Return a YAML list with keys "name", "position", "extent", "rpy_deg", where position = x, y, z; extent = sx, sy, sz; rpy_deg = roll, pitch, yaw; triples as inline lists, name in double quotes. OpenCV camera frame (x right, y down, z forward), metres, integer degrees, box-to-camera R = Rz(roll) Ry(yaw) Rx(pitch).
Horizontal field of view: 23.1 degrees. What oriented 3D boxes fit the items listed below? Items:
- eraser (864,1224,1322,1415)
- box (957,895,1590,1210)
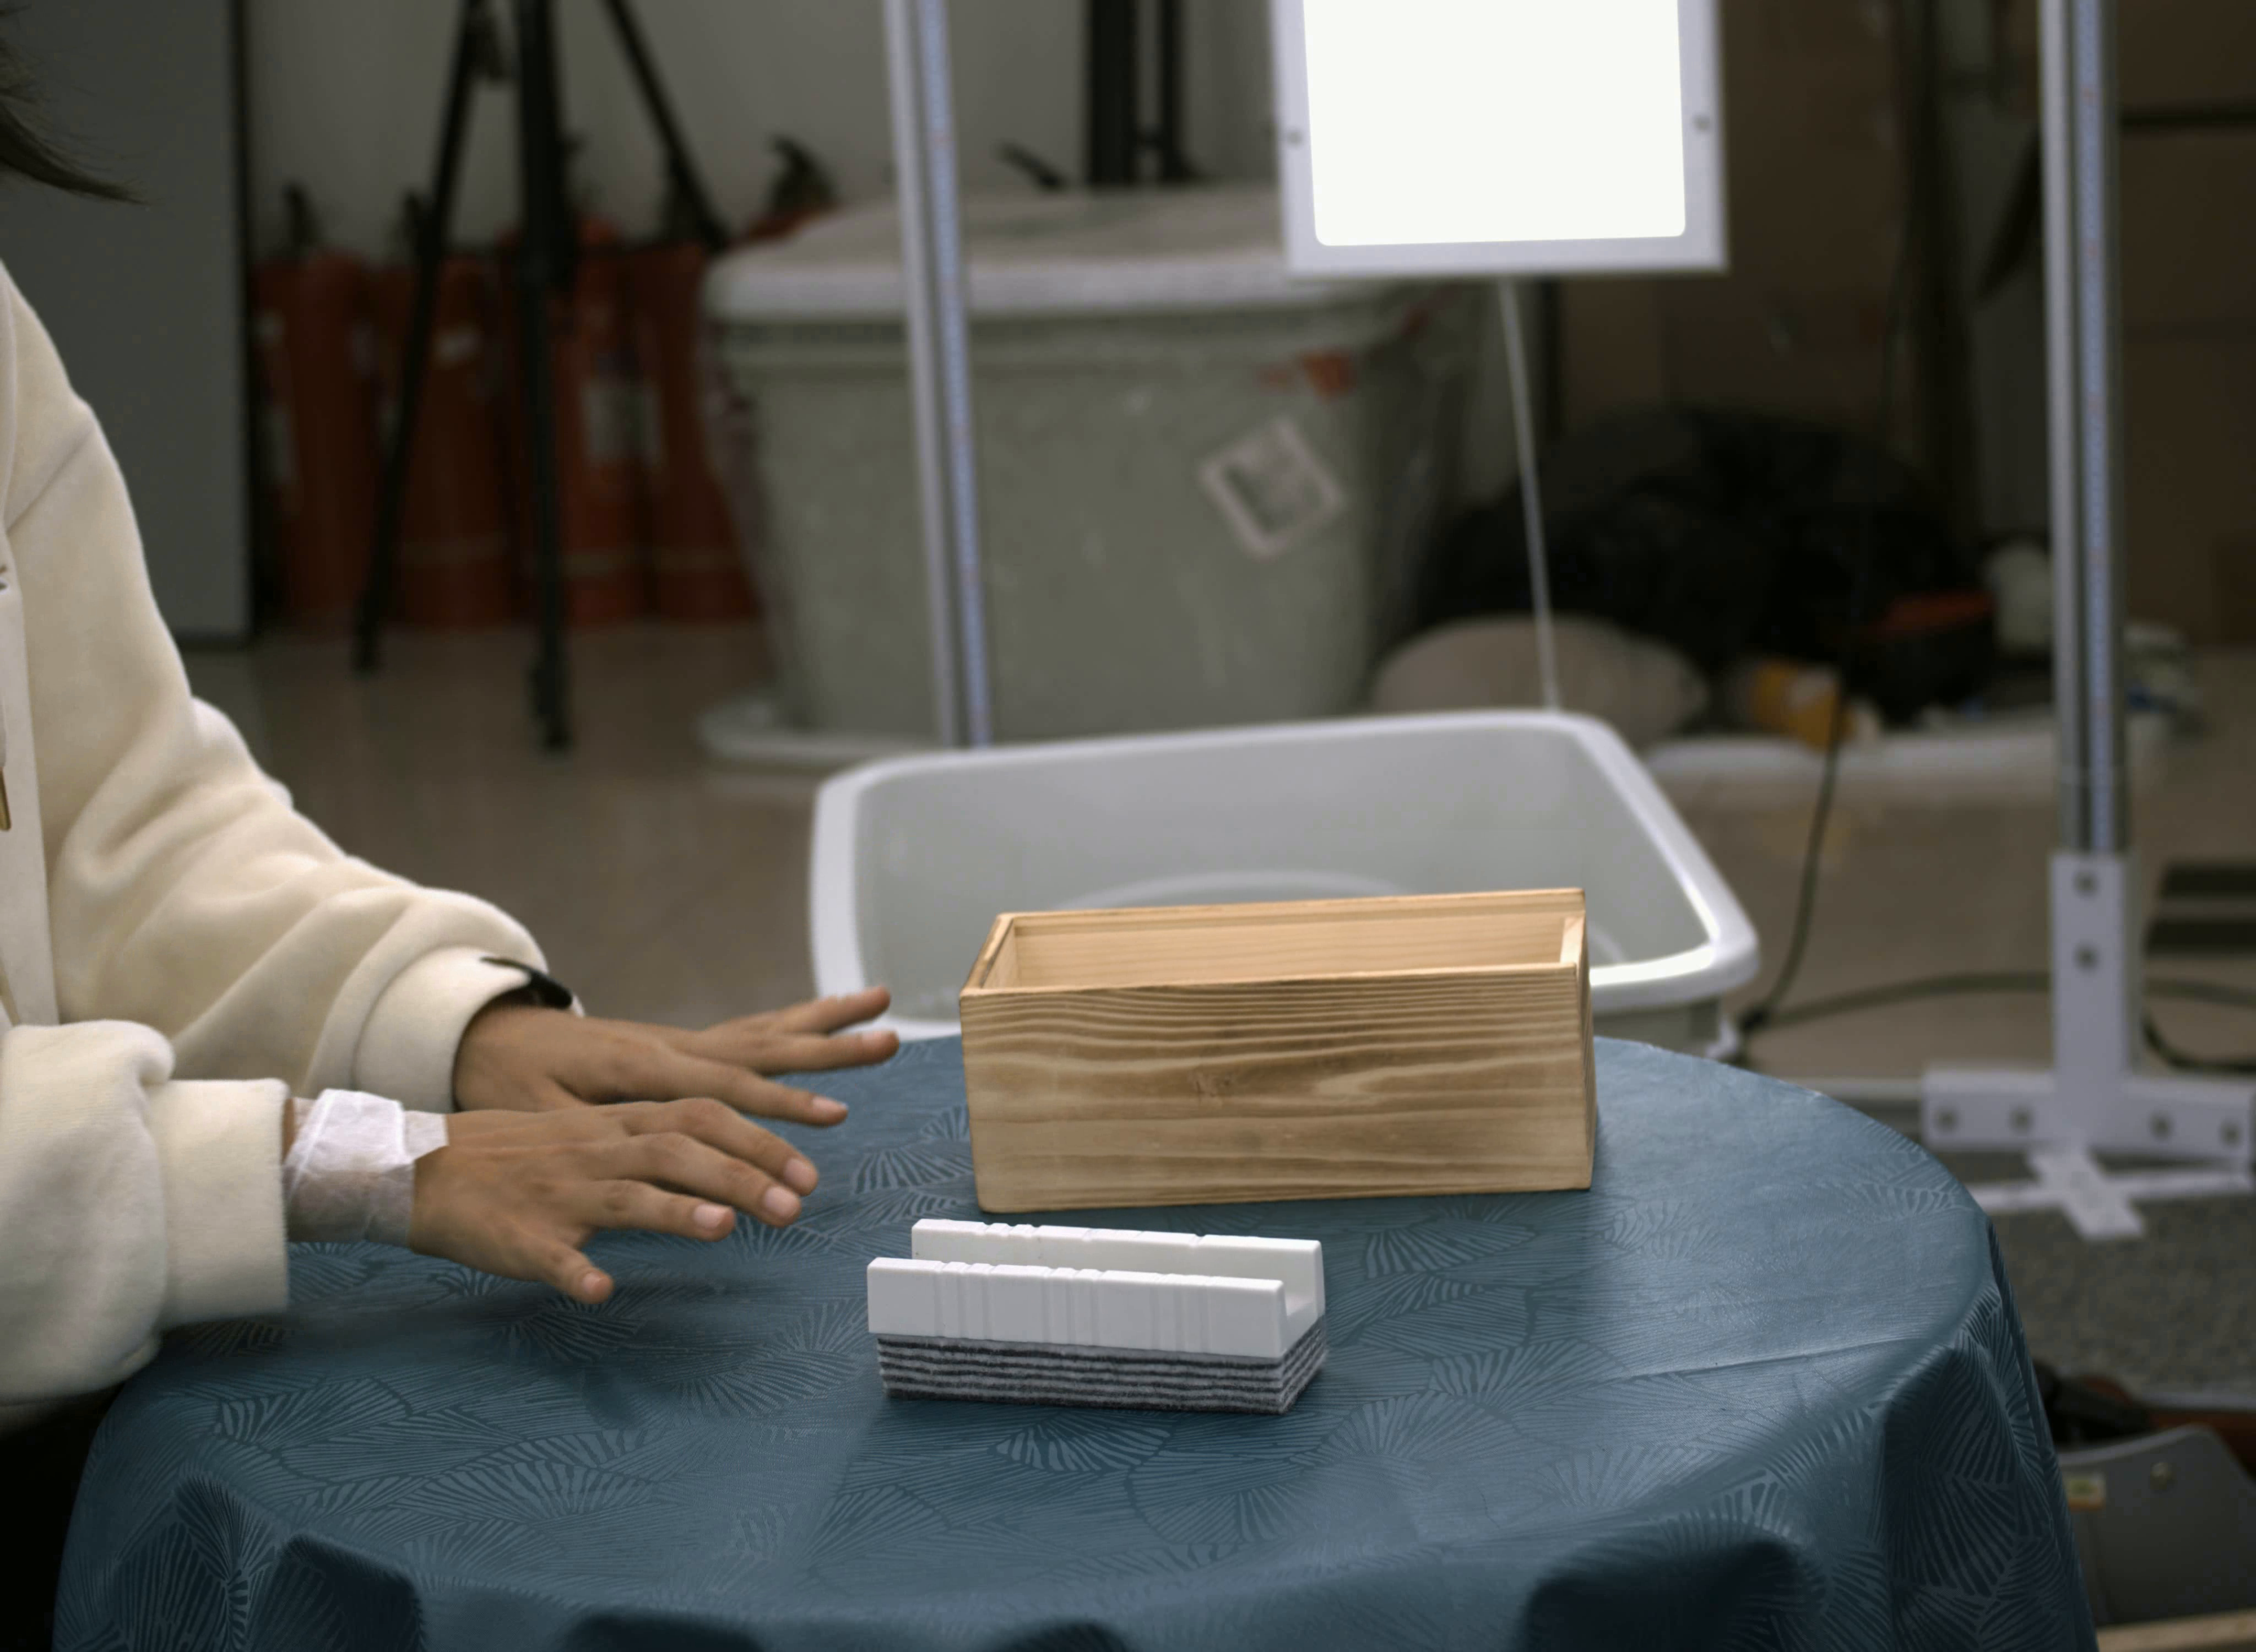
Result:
- name: "eraser"
  position: [-0.010, 0.151, 1.701]
  extent: [0.136, 0.047, 0.049]
  rpy_deg: [1, 17, 19]
- name: "box"
  position: [0.053, 0.078, 1.912]
  extent: [0.212, 0.080, 0.106]
  rpy_deg: [-2, 14, 8]
